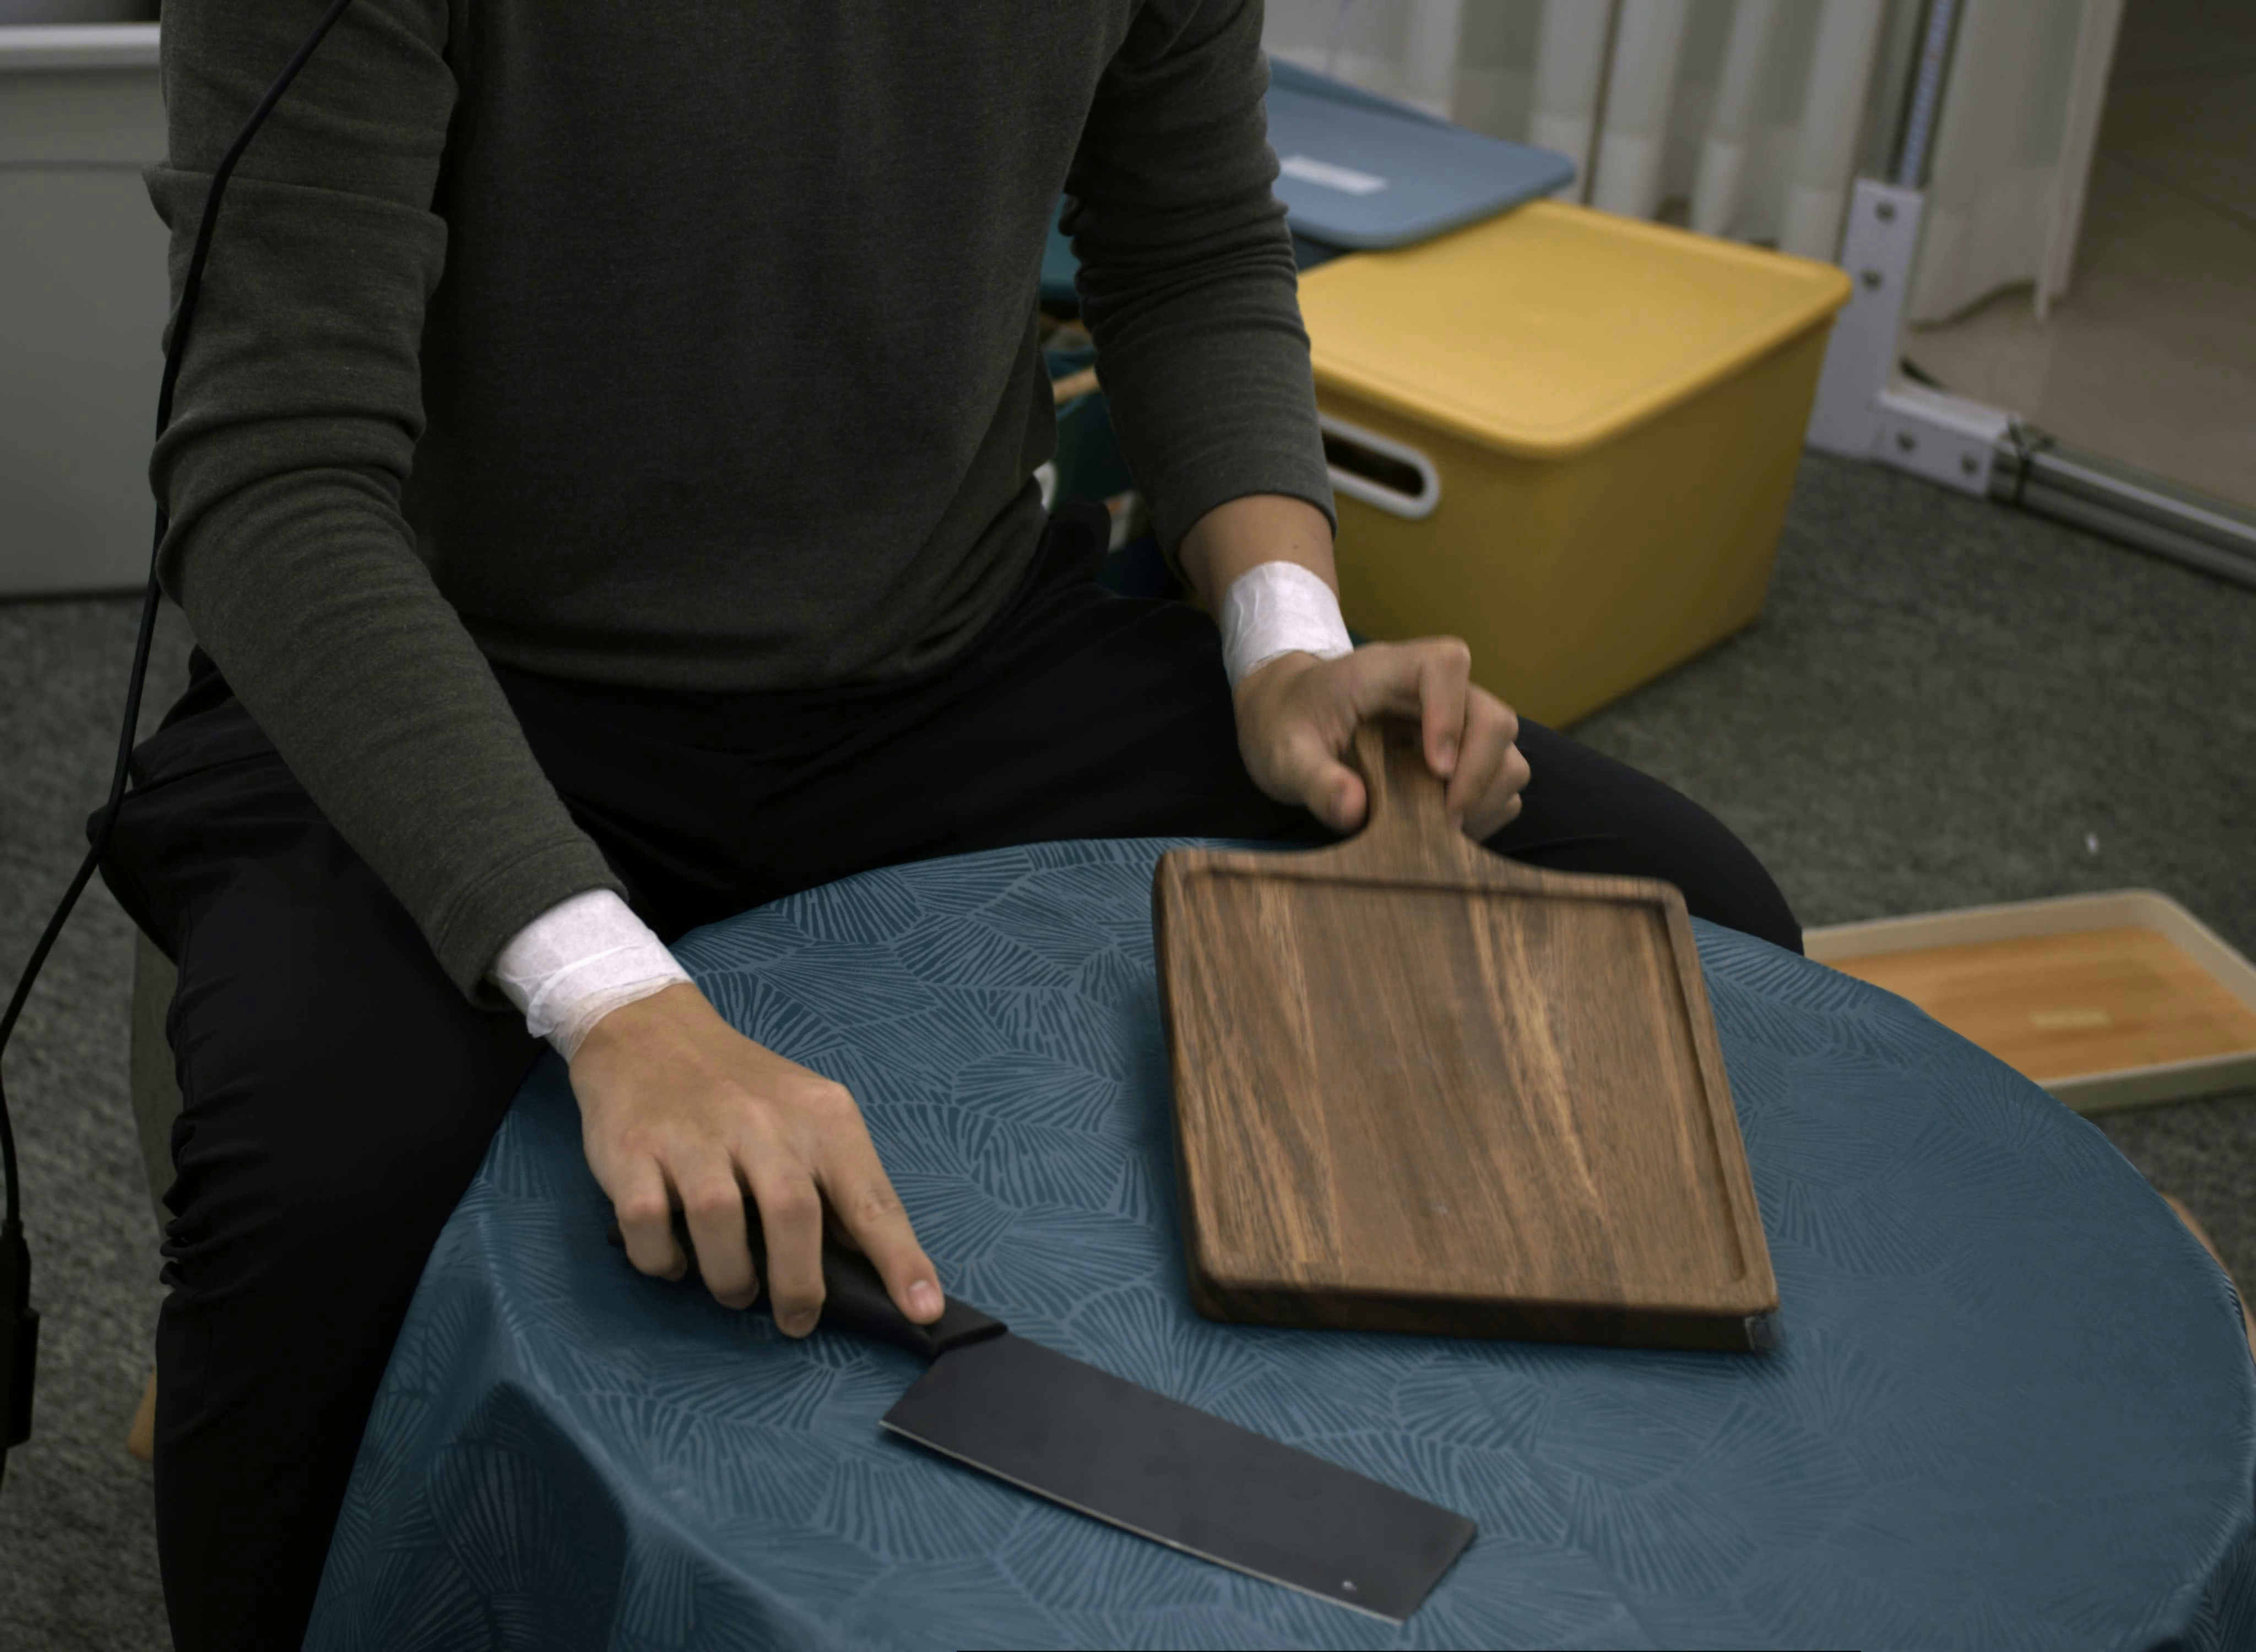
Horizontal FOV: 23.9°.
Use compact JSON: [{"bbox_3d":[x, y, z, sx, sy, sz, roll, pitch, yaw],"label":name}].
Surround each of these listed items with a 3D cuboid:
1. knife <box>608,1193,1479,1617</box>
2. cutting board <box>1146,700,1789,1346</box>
[{"bbox_3d":[-0.034,0.180,1.673,0.304,0.021,0.081,22,33,24],"label":"knife"},{"bbox_3d":[0.110,0.060,1.884,0.200,0.023,0.355,4,34,-6],"label":"cutting board"}]
